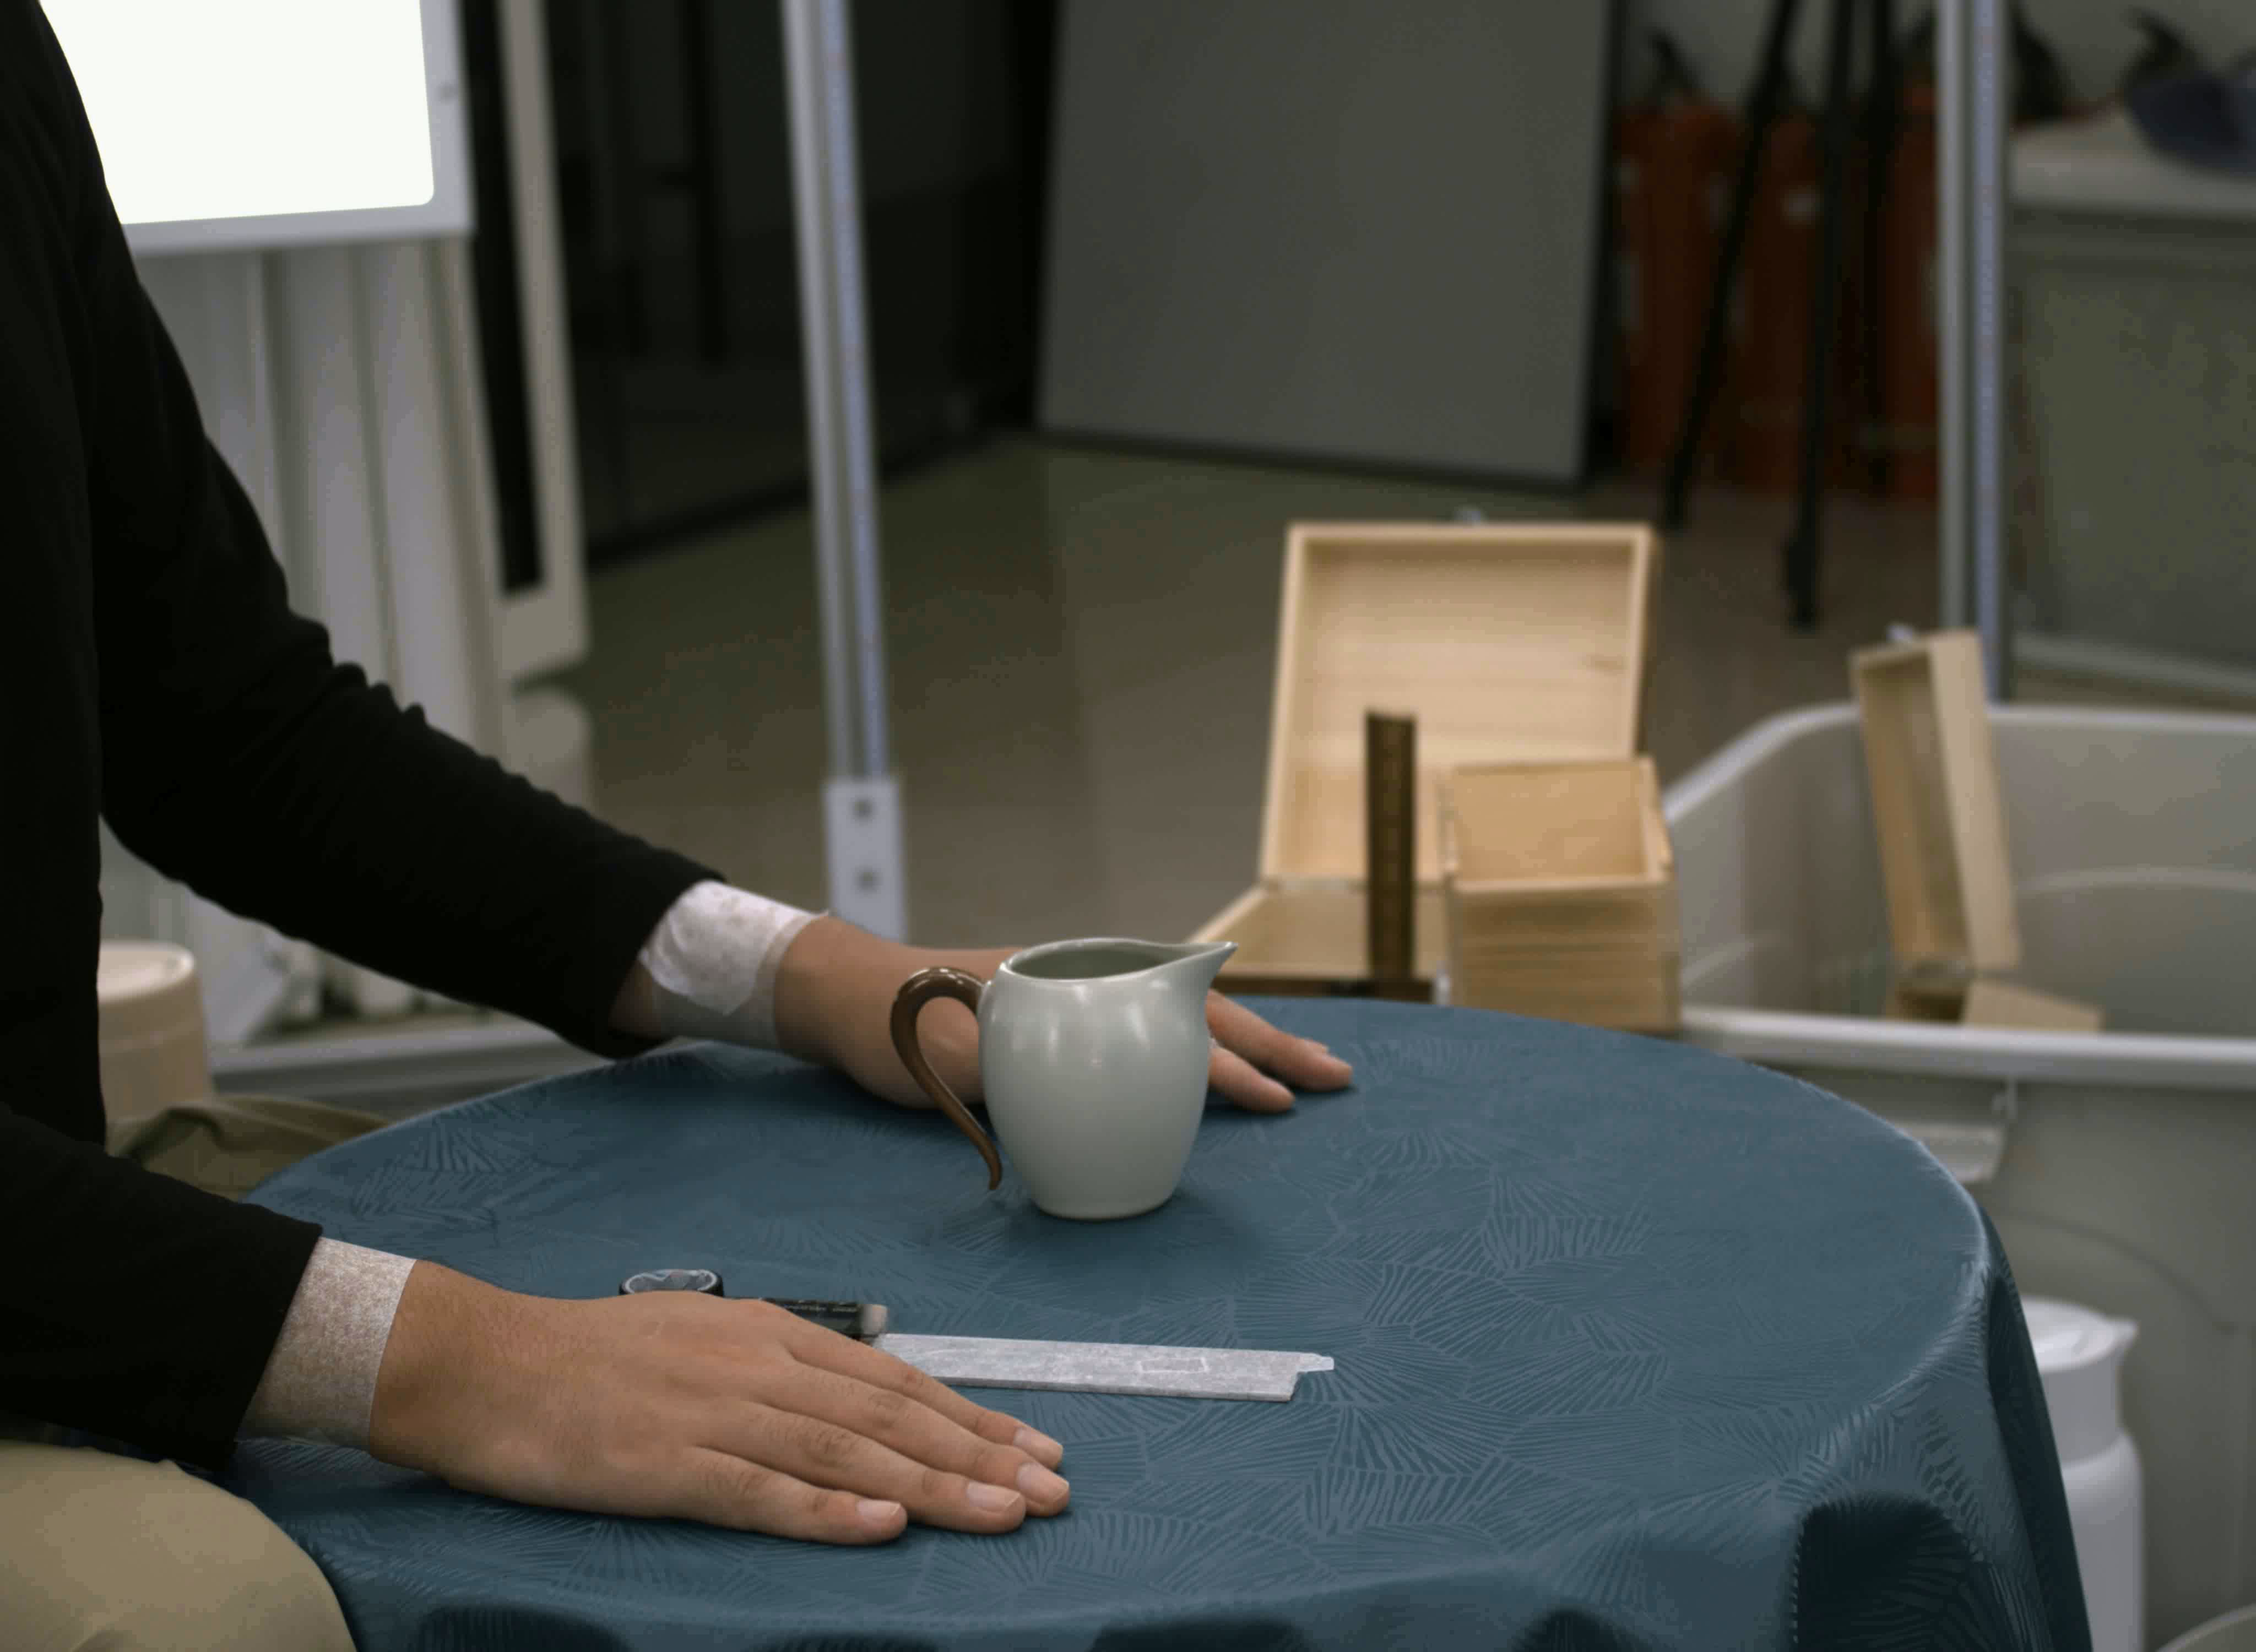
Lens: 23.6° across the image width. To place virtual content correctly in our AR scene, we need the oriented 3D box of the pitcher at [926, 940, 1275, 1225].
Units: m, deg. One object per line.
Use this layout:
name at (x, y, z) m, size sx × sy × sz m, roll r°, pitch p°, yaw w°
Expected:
pitcher at (-0.009, 0.081, 1.753) m, size 0.119 × 0.089 × 0.075 m, roll 2°, pitch 11°, yaw 17°

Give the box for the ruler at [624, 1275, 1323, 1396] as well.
ruler at (-0.050, 0.152, 1.612) m, size 0.218 × 0.024 × 0.038 m, roll -1°, pitch 20°, yaw 19°
